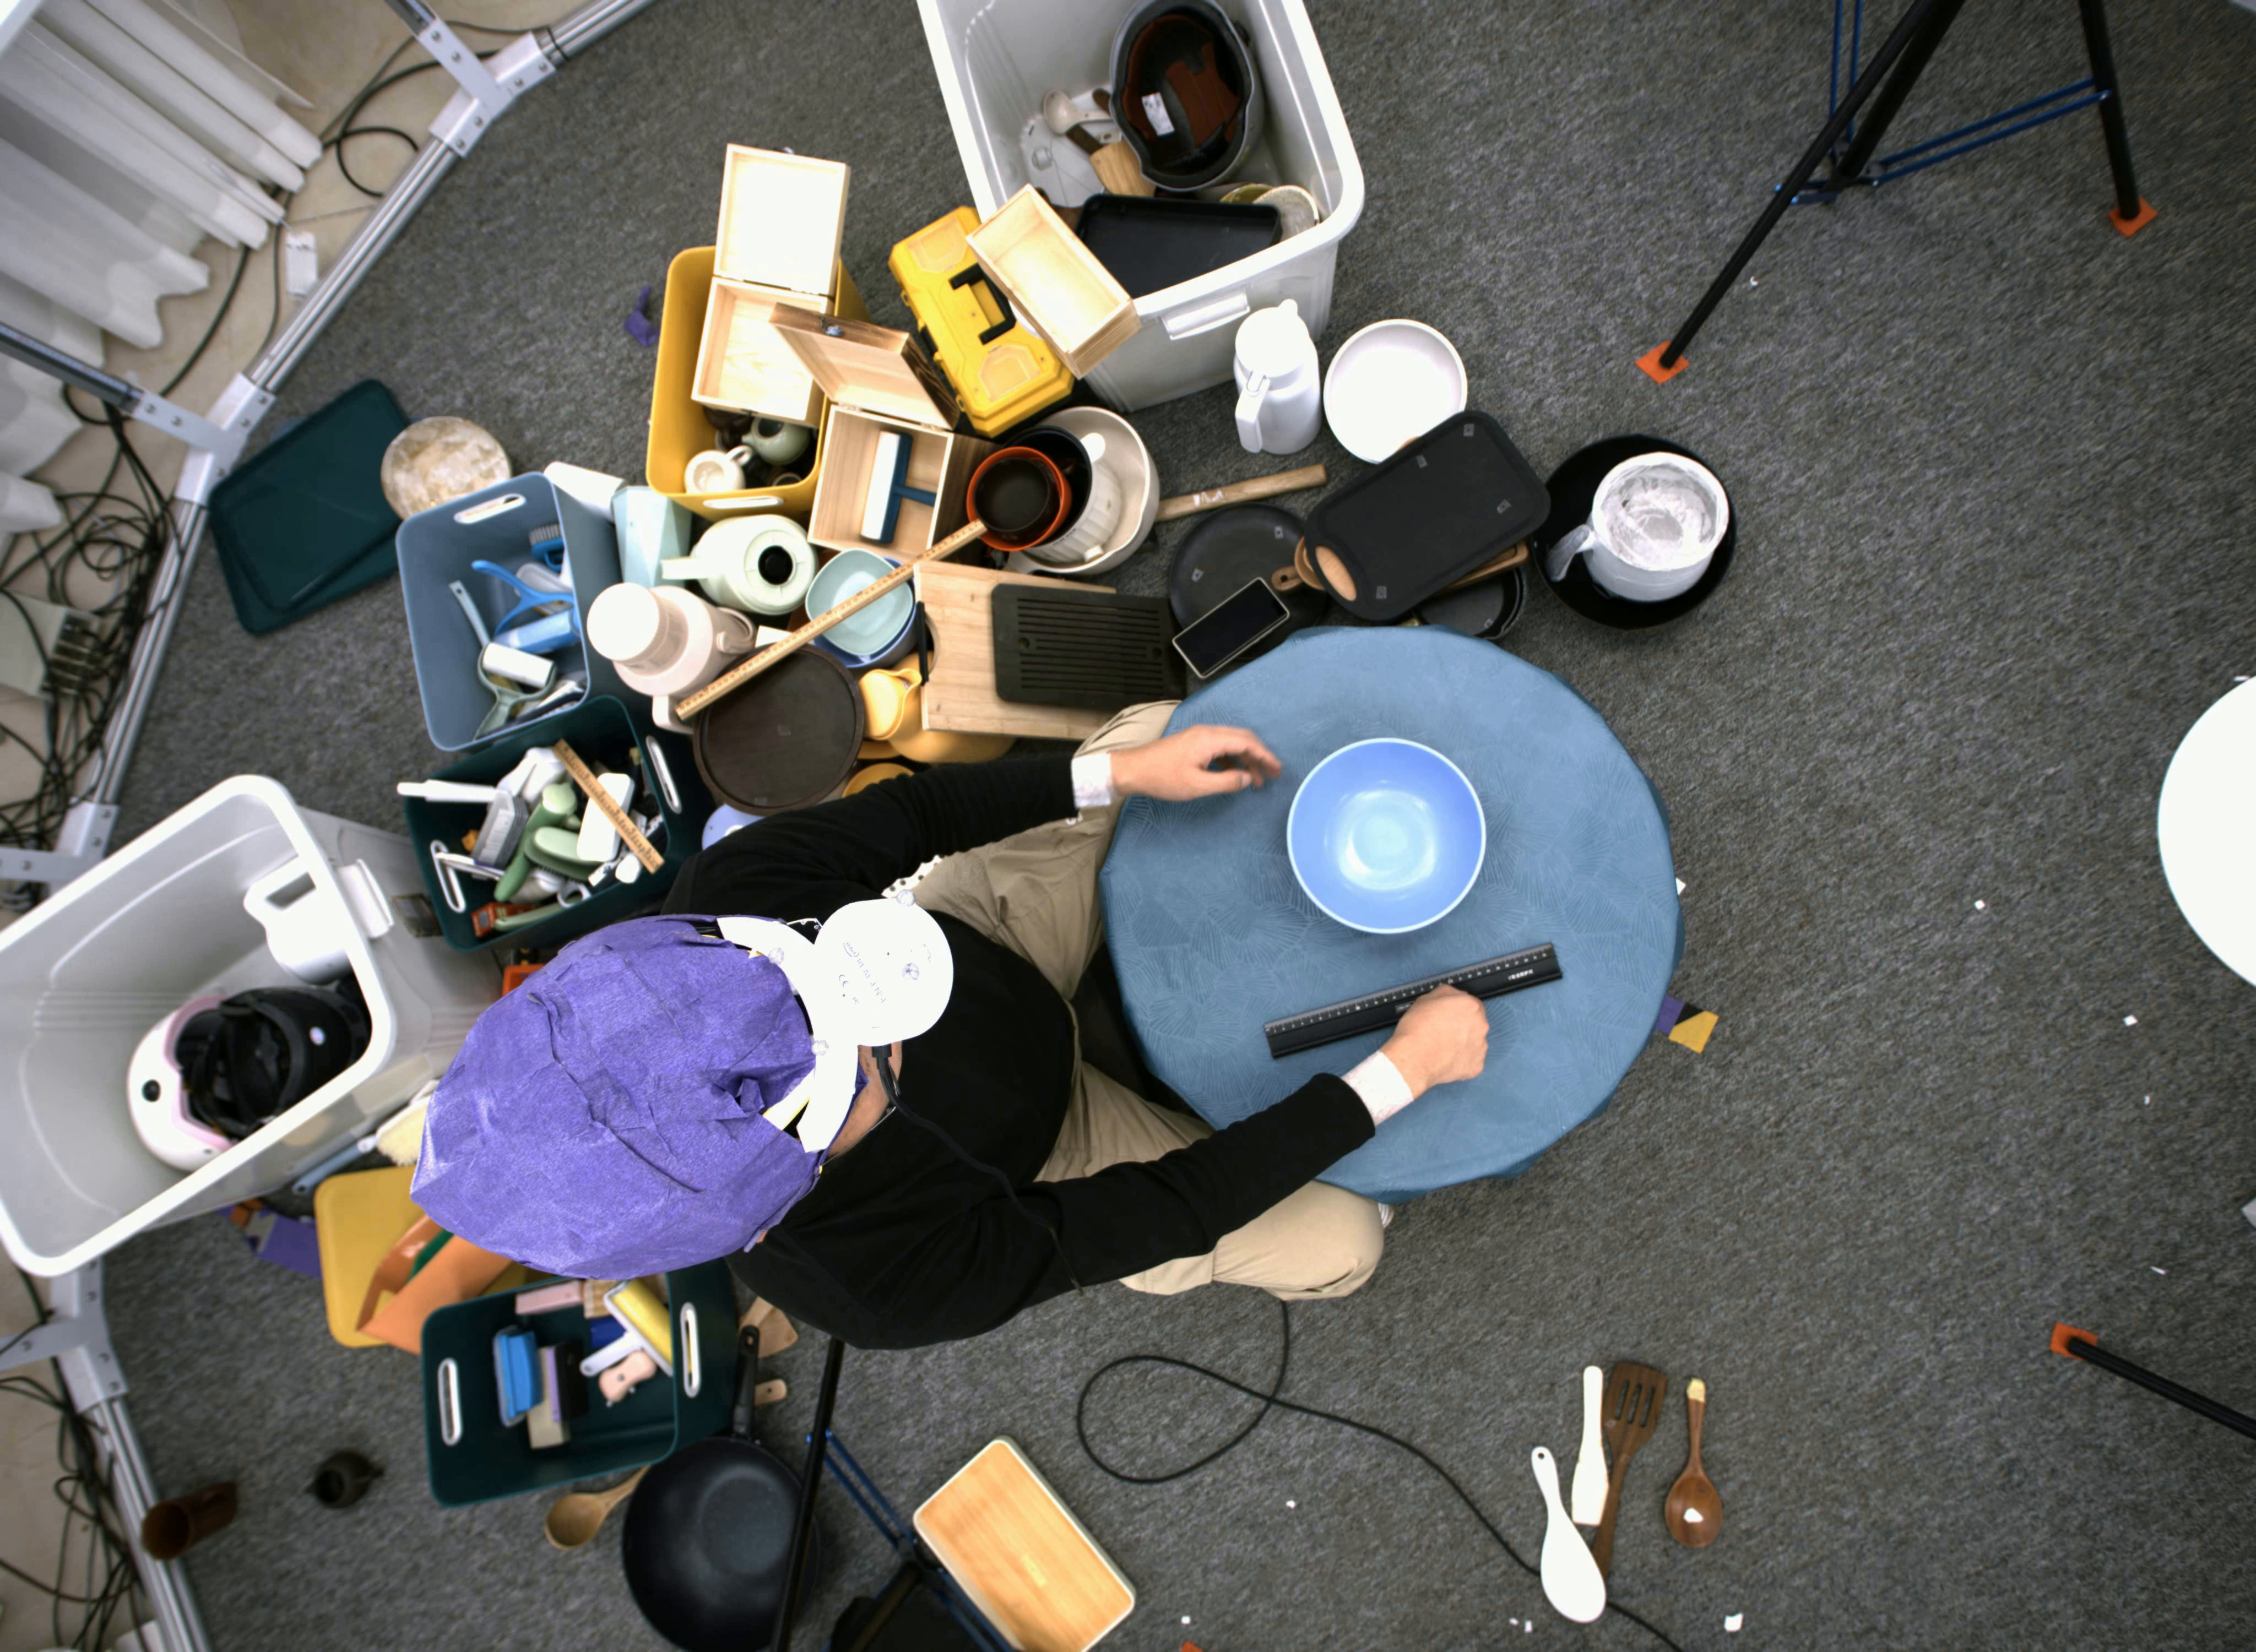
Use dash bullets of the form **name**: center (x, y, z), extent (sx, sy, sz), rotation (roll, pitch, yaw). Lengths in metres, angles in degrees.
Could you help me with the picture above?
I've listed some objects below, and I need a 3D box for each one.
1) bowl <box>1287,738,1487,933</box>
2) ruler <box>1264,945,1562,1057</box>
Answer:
- **bowl**: center (0.264, 0.013, 1.416), extent (0.197, 0.095, 0.195), rotation (-1, 86, 10)
- **ruler**: center (0.295, 0.181, 1.440), extent (0.314, 0.017, 0.039), rotation (-17, 83, 9)
